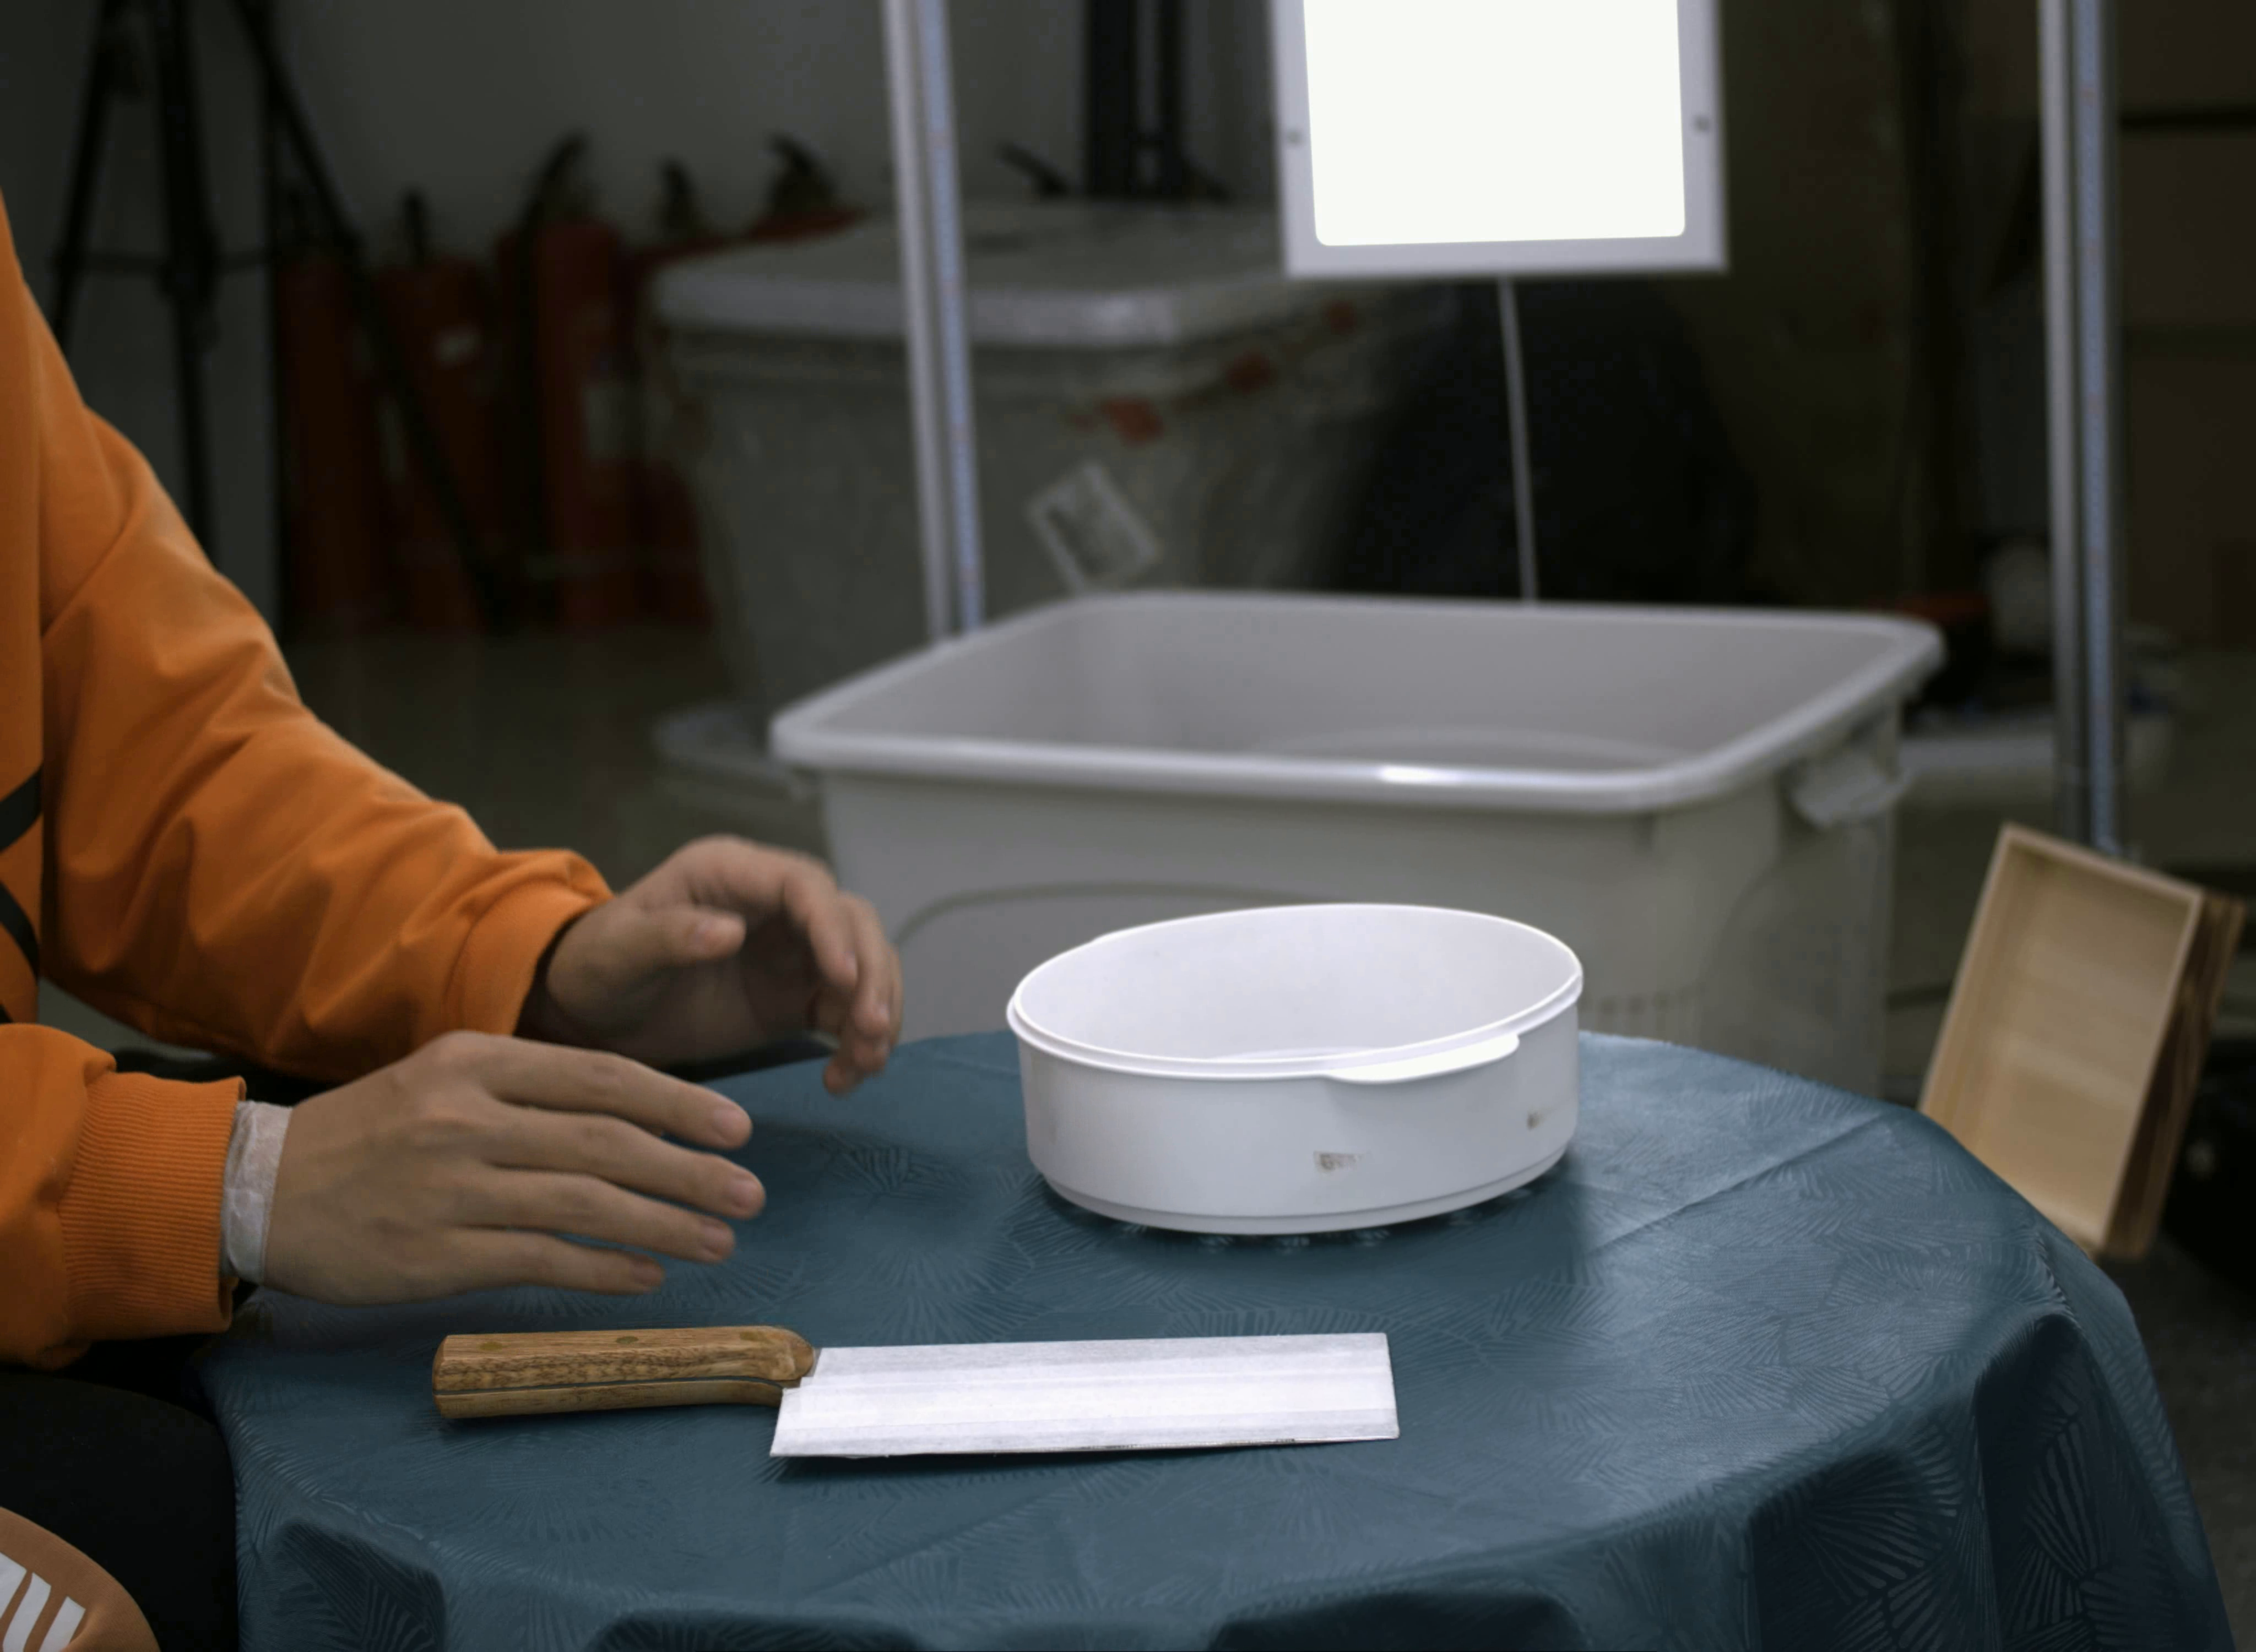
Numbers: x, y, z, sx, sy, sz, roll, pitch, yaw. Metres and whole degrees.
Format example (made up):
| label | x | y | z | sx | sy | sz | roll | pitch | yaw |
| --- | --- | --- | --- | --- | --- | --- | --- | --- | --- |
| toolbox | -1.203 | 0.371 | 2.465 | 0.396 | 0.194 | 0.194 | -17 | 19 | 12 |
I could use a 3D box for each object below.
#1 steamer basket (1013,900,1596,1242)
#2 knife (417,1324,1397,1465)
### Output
| label | x | y | z | sx | sy | sz | roll | pitch | yaw |
| --- | --- | --- | --- | --- | --- | --- | --- | --- | --- |
| steamer basket | 0.063 | 0.085 | 1.899 | 0.198 | 0.069 | 0.234 | -11 | 17 | -22 |
| knife | -0.070 | 0.175 | 1.693 | 0.305 | 0.021 | 0.092 | -2 | 15 | 3 |
